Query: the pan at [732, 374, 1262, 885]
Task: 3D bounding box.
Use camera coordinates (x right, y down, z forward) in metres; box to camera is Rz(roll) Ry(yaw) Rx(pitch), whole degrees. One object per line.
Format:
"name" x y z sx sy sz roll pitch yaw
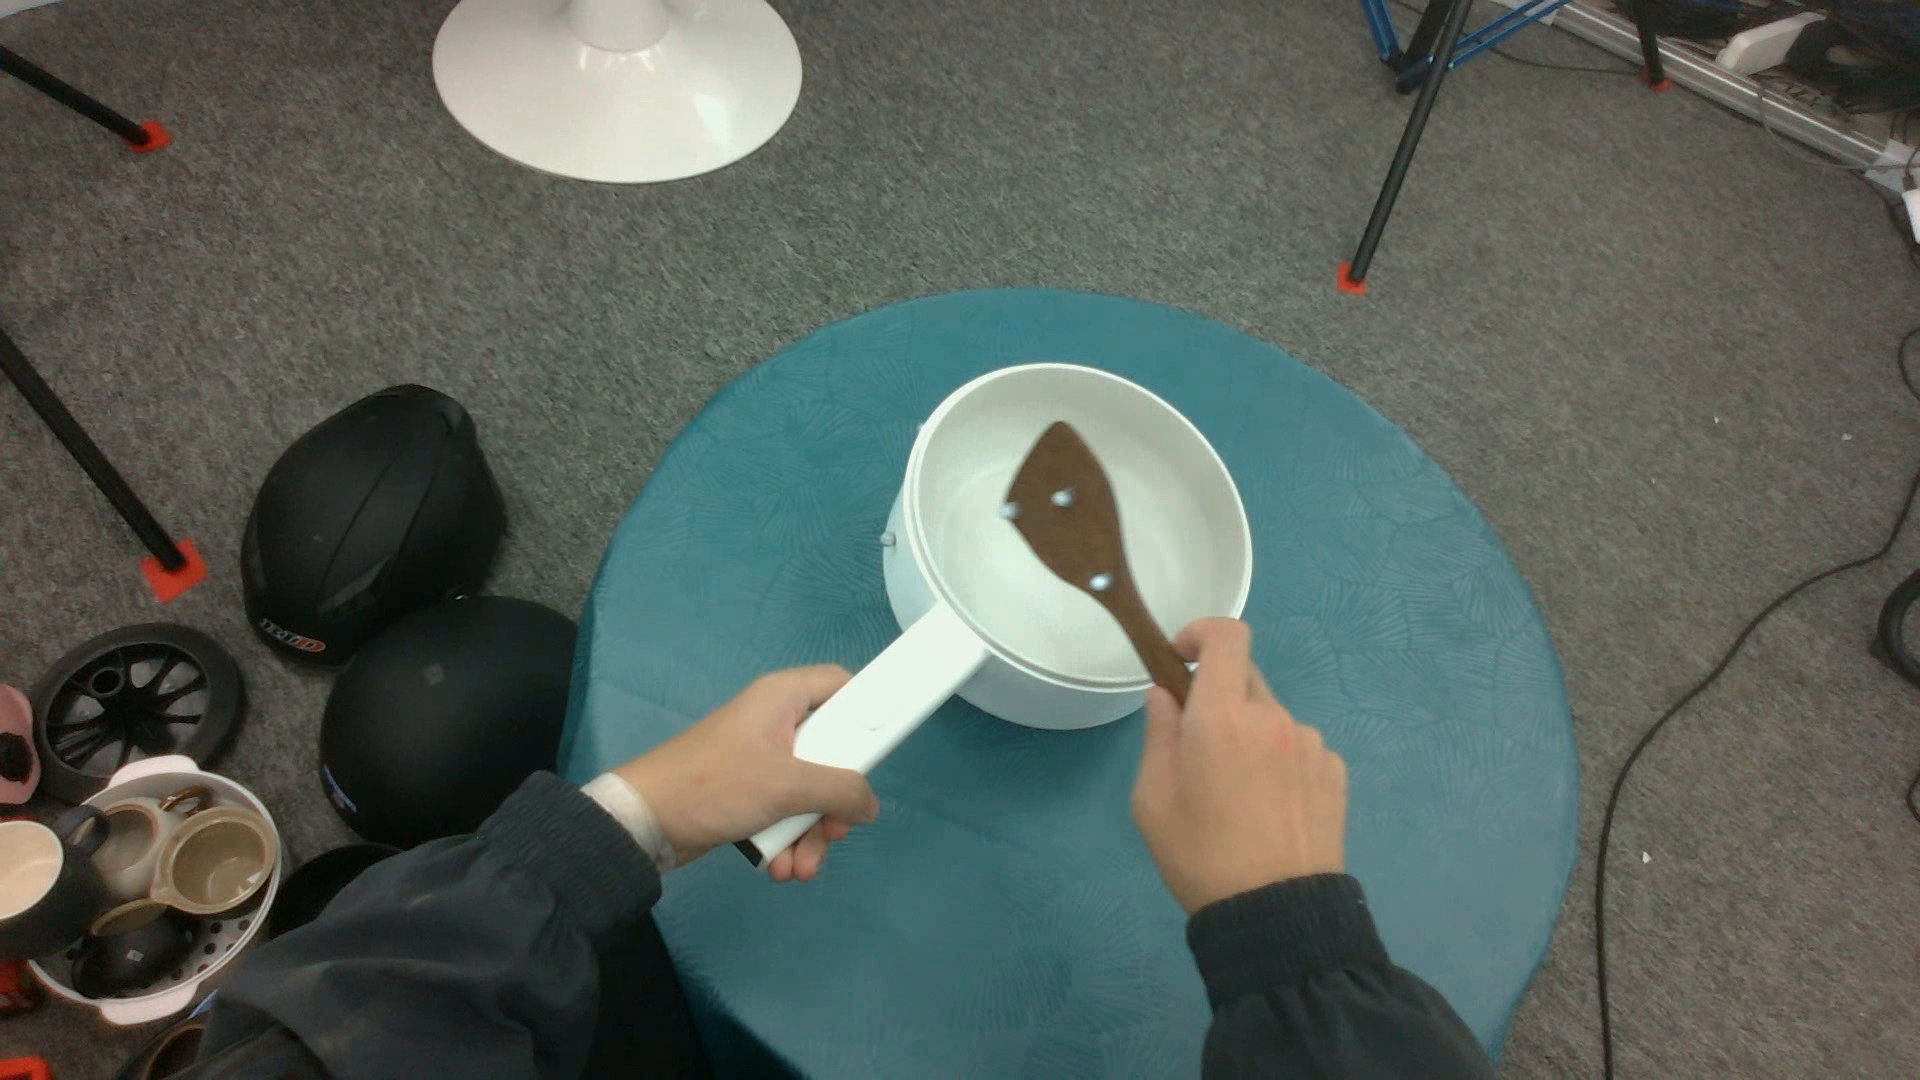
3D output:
"pan" 0.015 0.059 0.762 0.201 0.101 0.356 42 61 9

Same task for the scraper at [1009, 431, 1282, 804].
"scraper" 0.091 0.040 0.683 0.011 0.075 0.211 -12 55 -37
